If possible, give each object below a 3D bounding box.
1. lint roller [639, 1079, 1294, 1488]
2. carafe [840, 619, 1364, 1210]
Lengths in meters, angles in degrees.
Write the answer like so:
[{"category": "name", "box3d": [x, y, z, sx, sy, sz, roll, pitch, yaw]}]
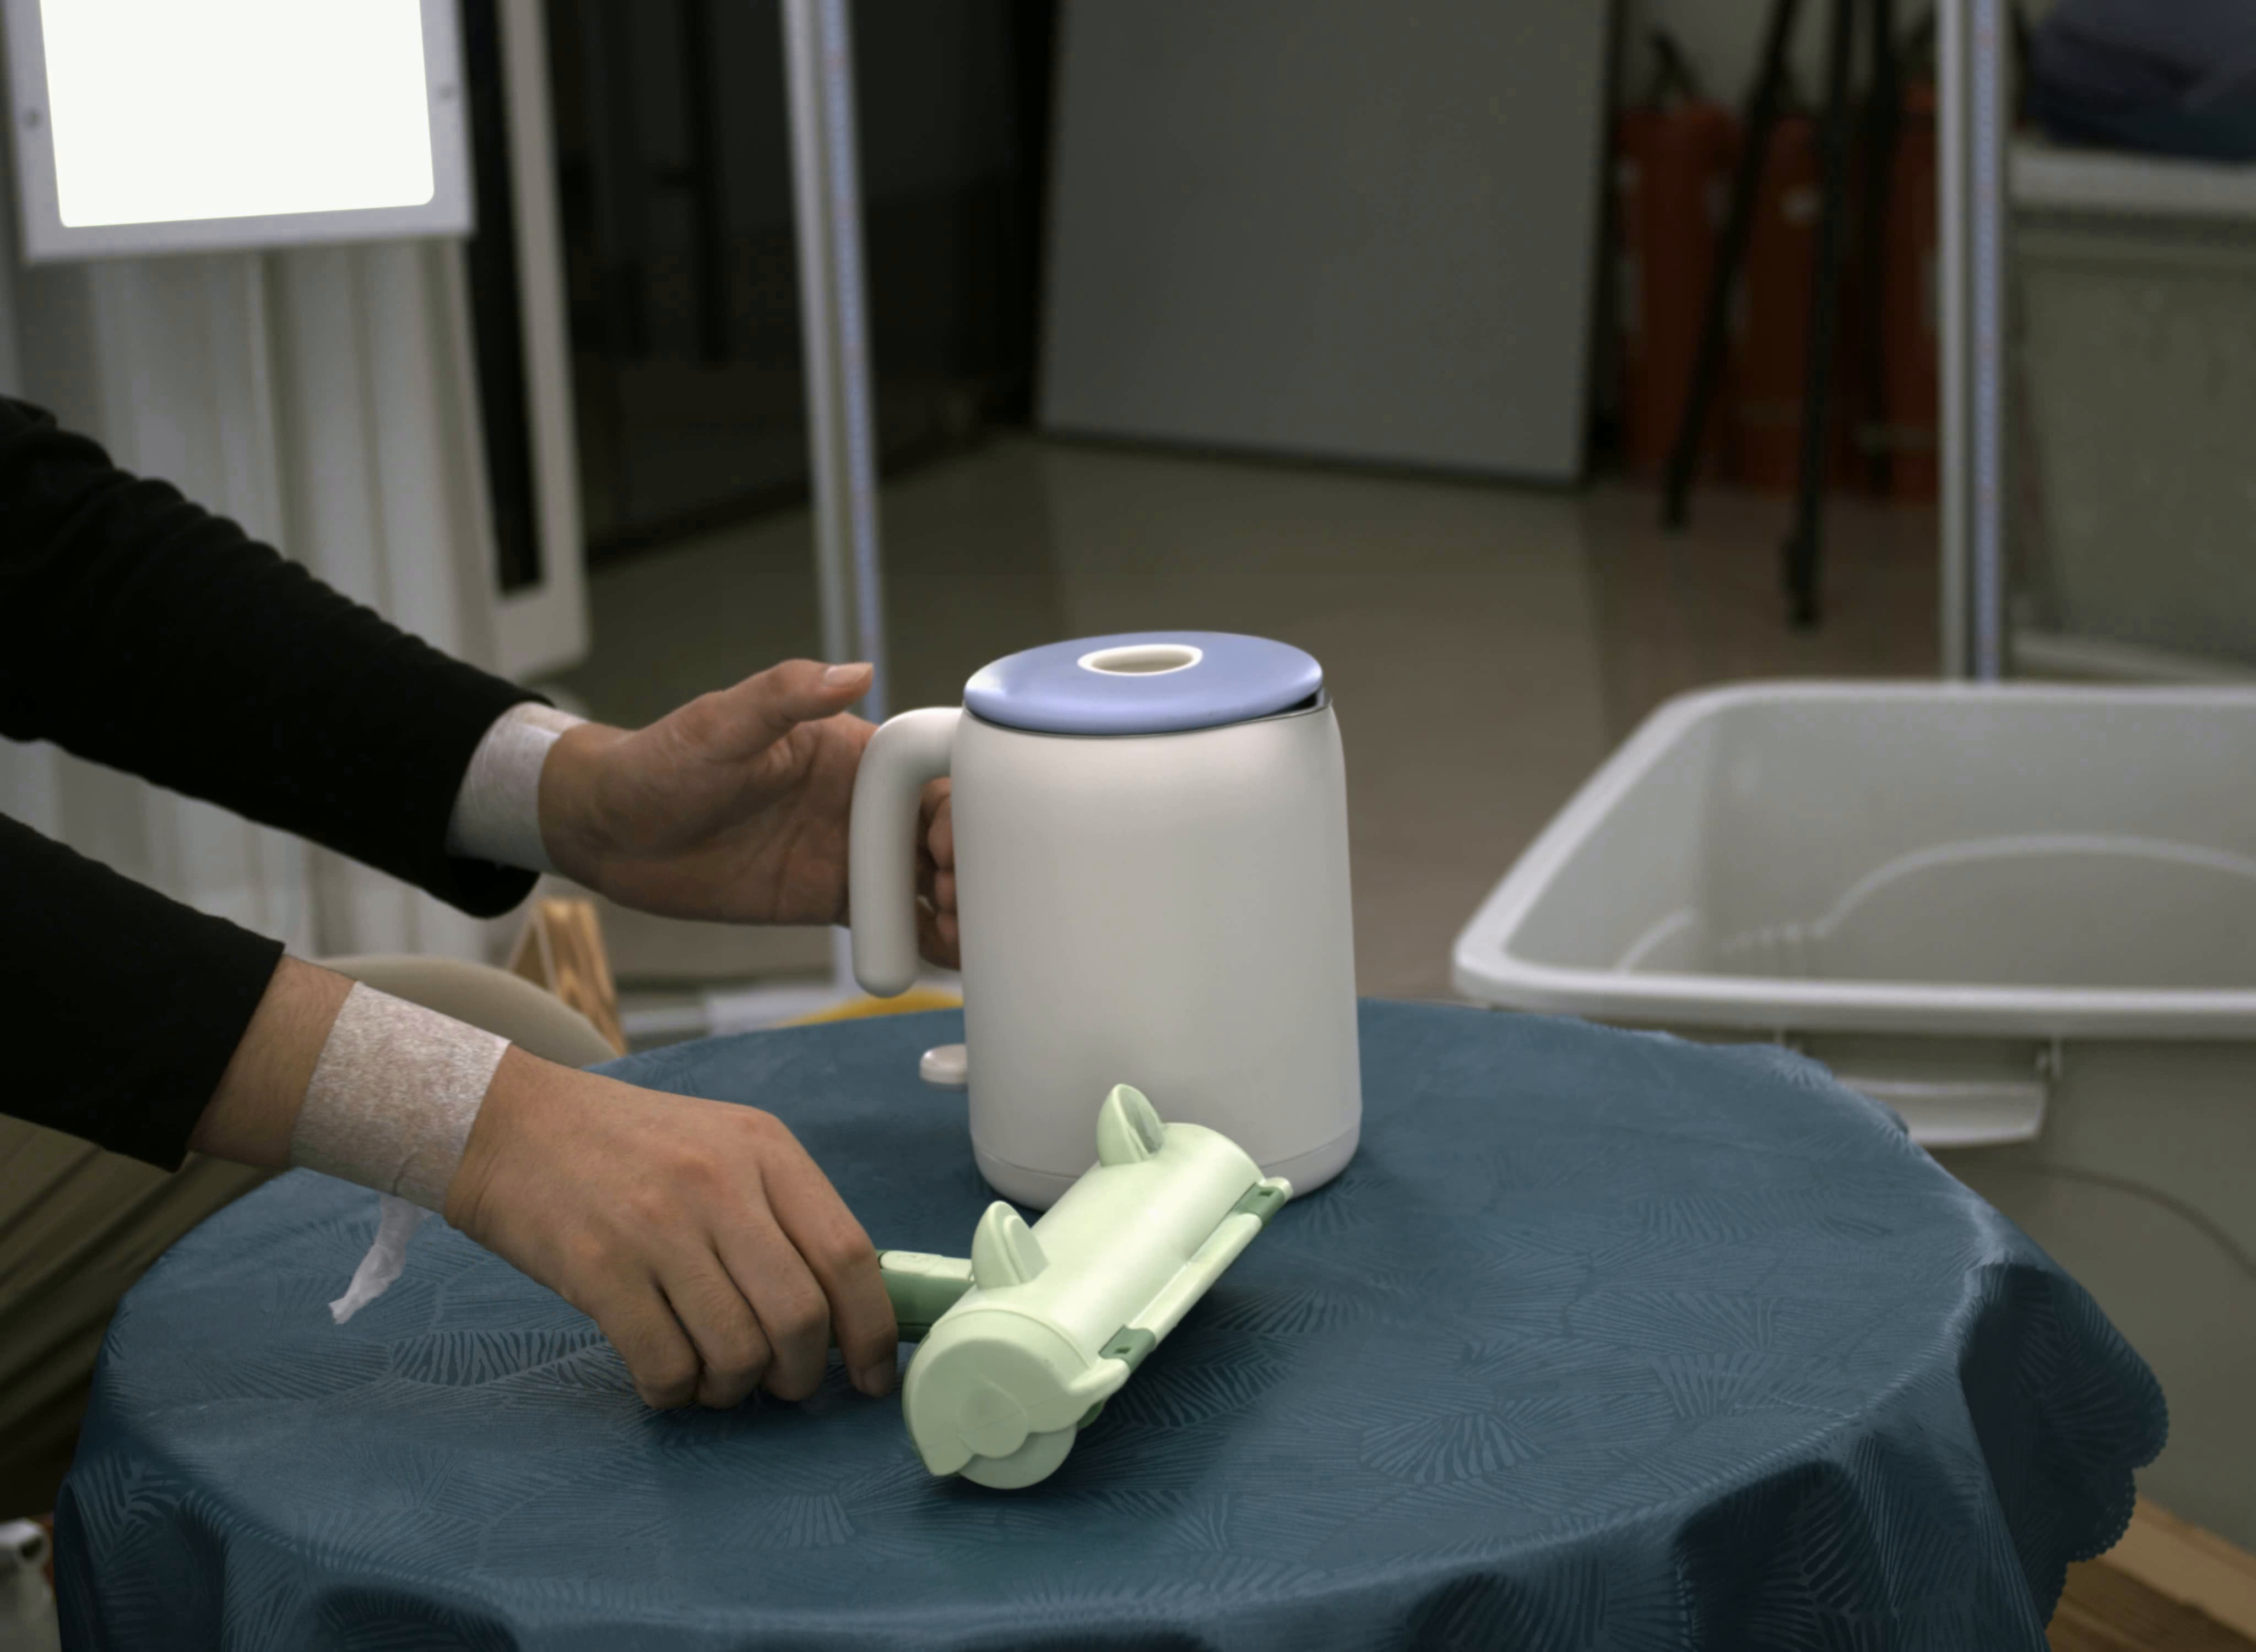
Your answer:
[{"category": "lint roller", "box3d": [-0.061, 0.127, 1.599, 0.183, 0.083, 0.197, 4, 15, 18]}, {"category": "carafe", "box3d": [-0.012, 0.030, 1.783, 0.192, 0.184, 0.130, 1, 14, 30]}]
